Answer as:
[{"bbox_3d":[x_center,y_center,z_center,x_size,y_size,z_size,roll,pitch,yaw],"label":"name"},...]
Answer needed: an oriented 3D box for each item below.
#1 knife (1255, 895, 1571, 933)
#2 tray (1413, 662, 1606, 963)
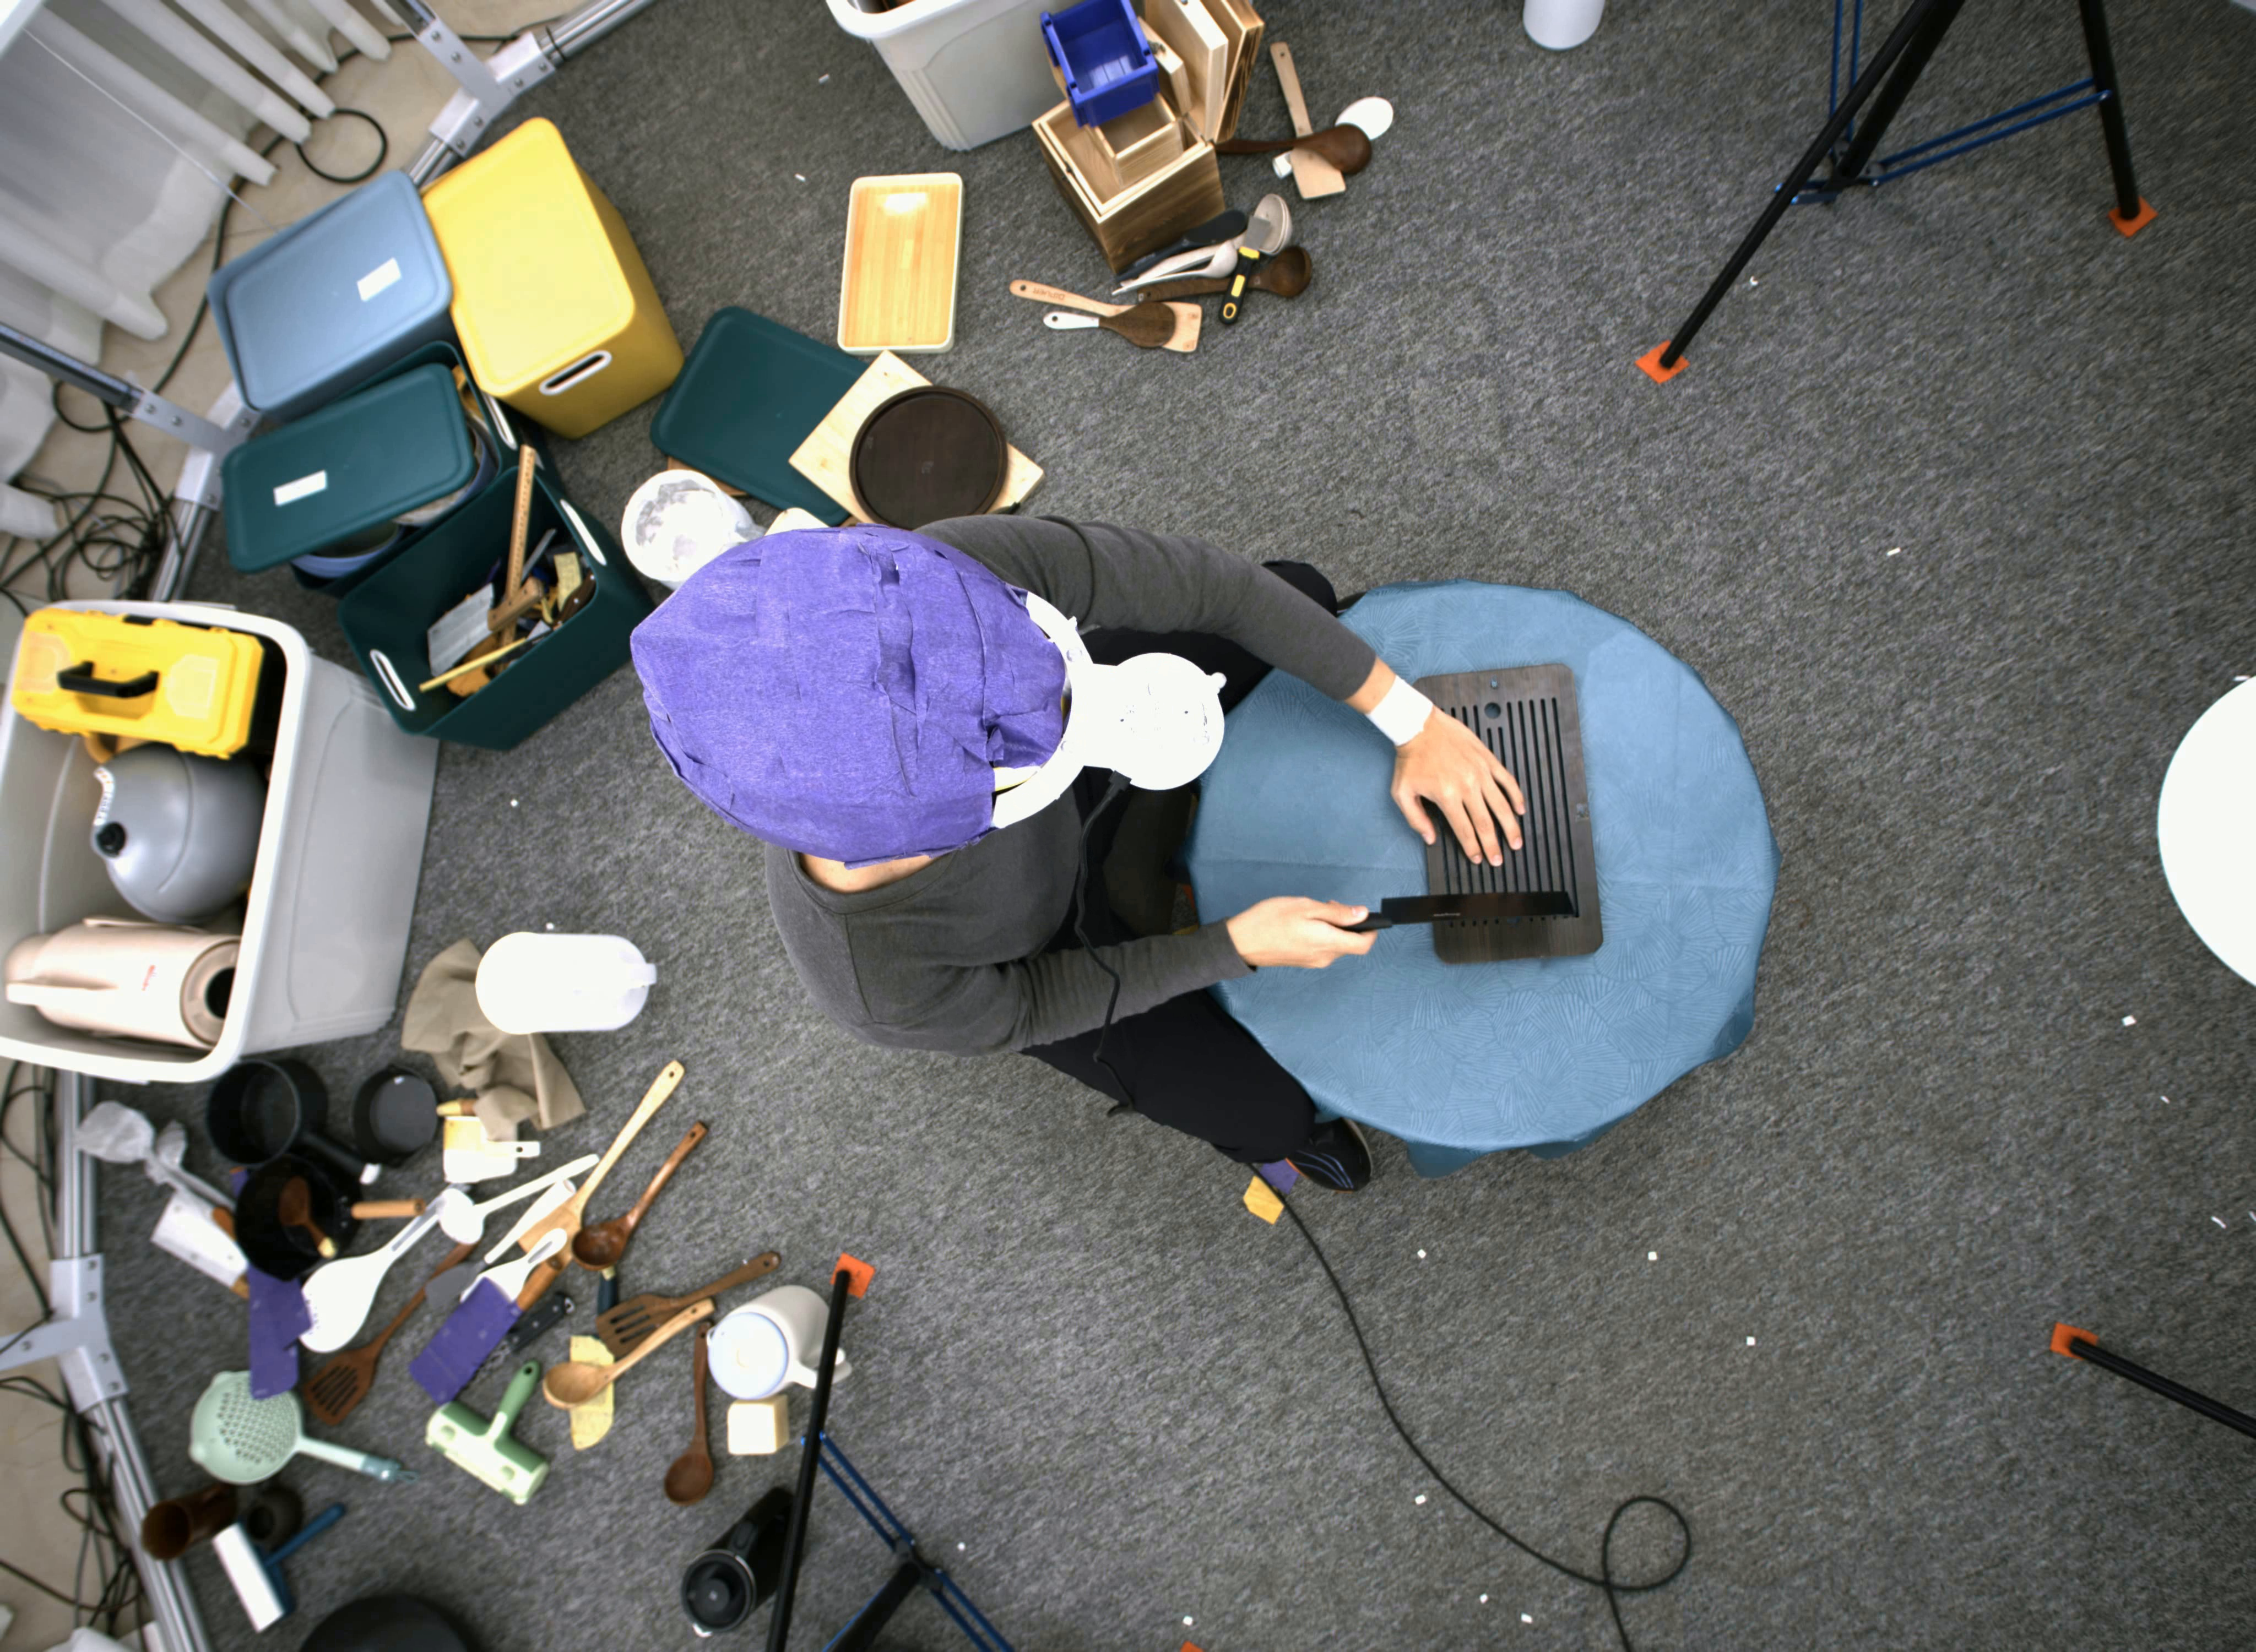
[{"bbox_3d":[0.274,0.081,1.342,0.303,0.079,0.021,-4,106,9],"label":"knife"},{"bbox_3d":[0.396,-0.016,1.432,0.171,0.018,0.304,-5,85,11],"label":"tray"}]
